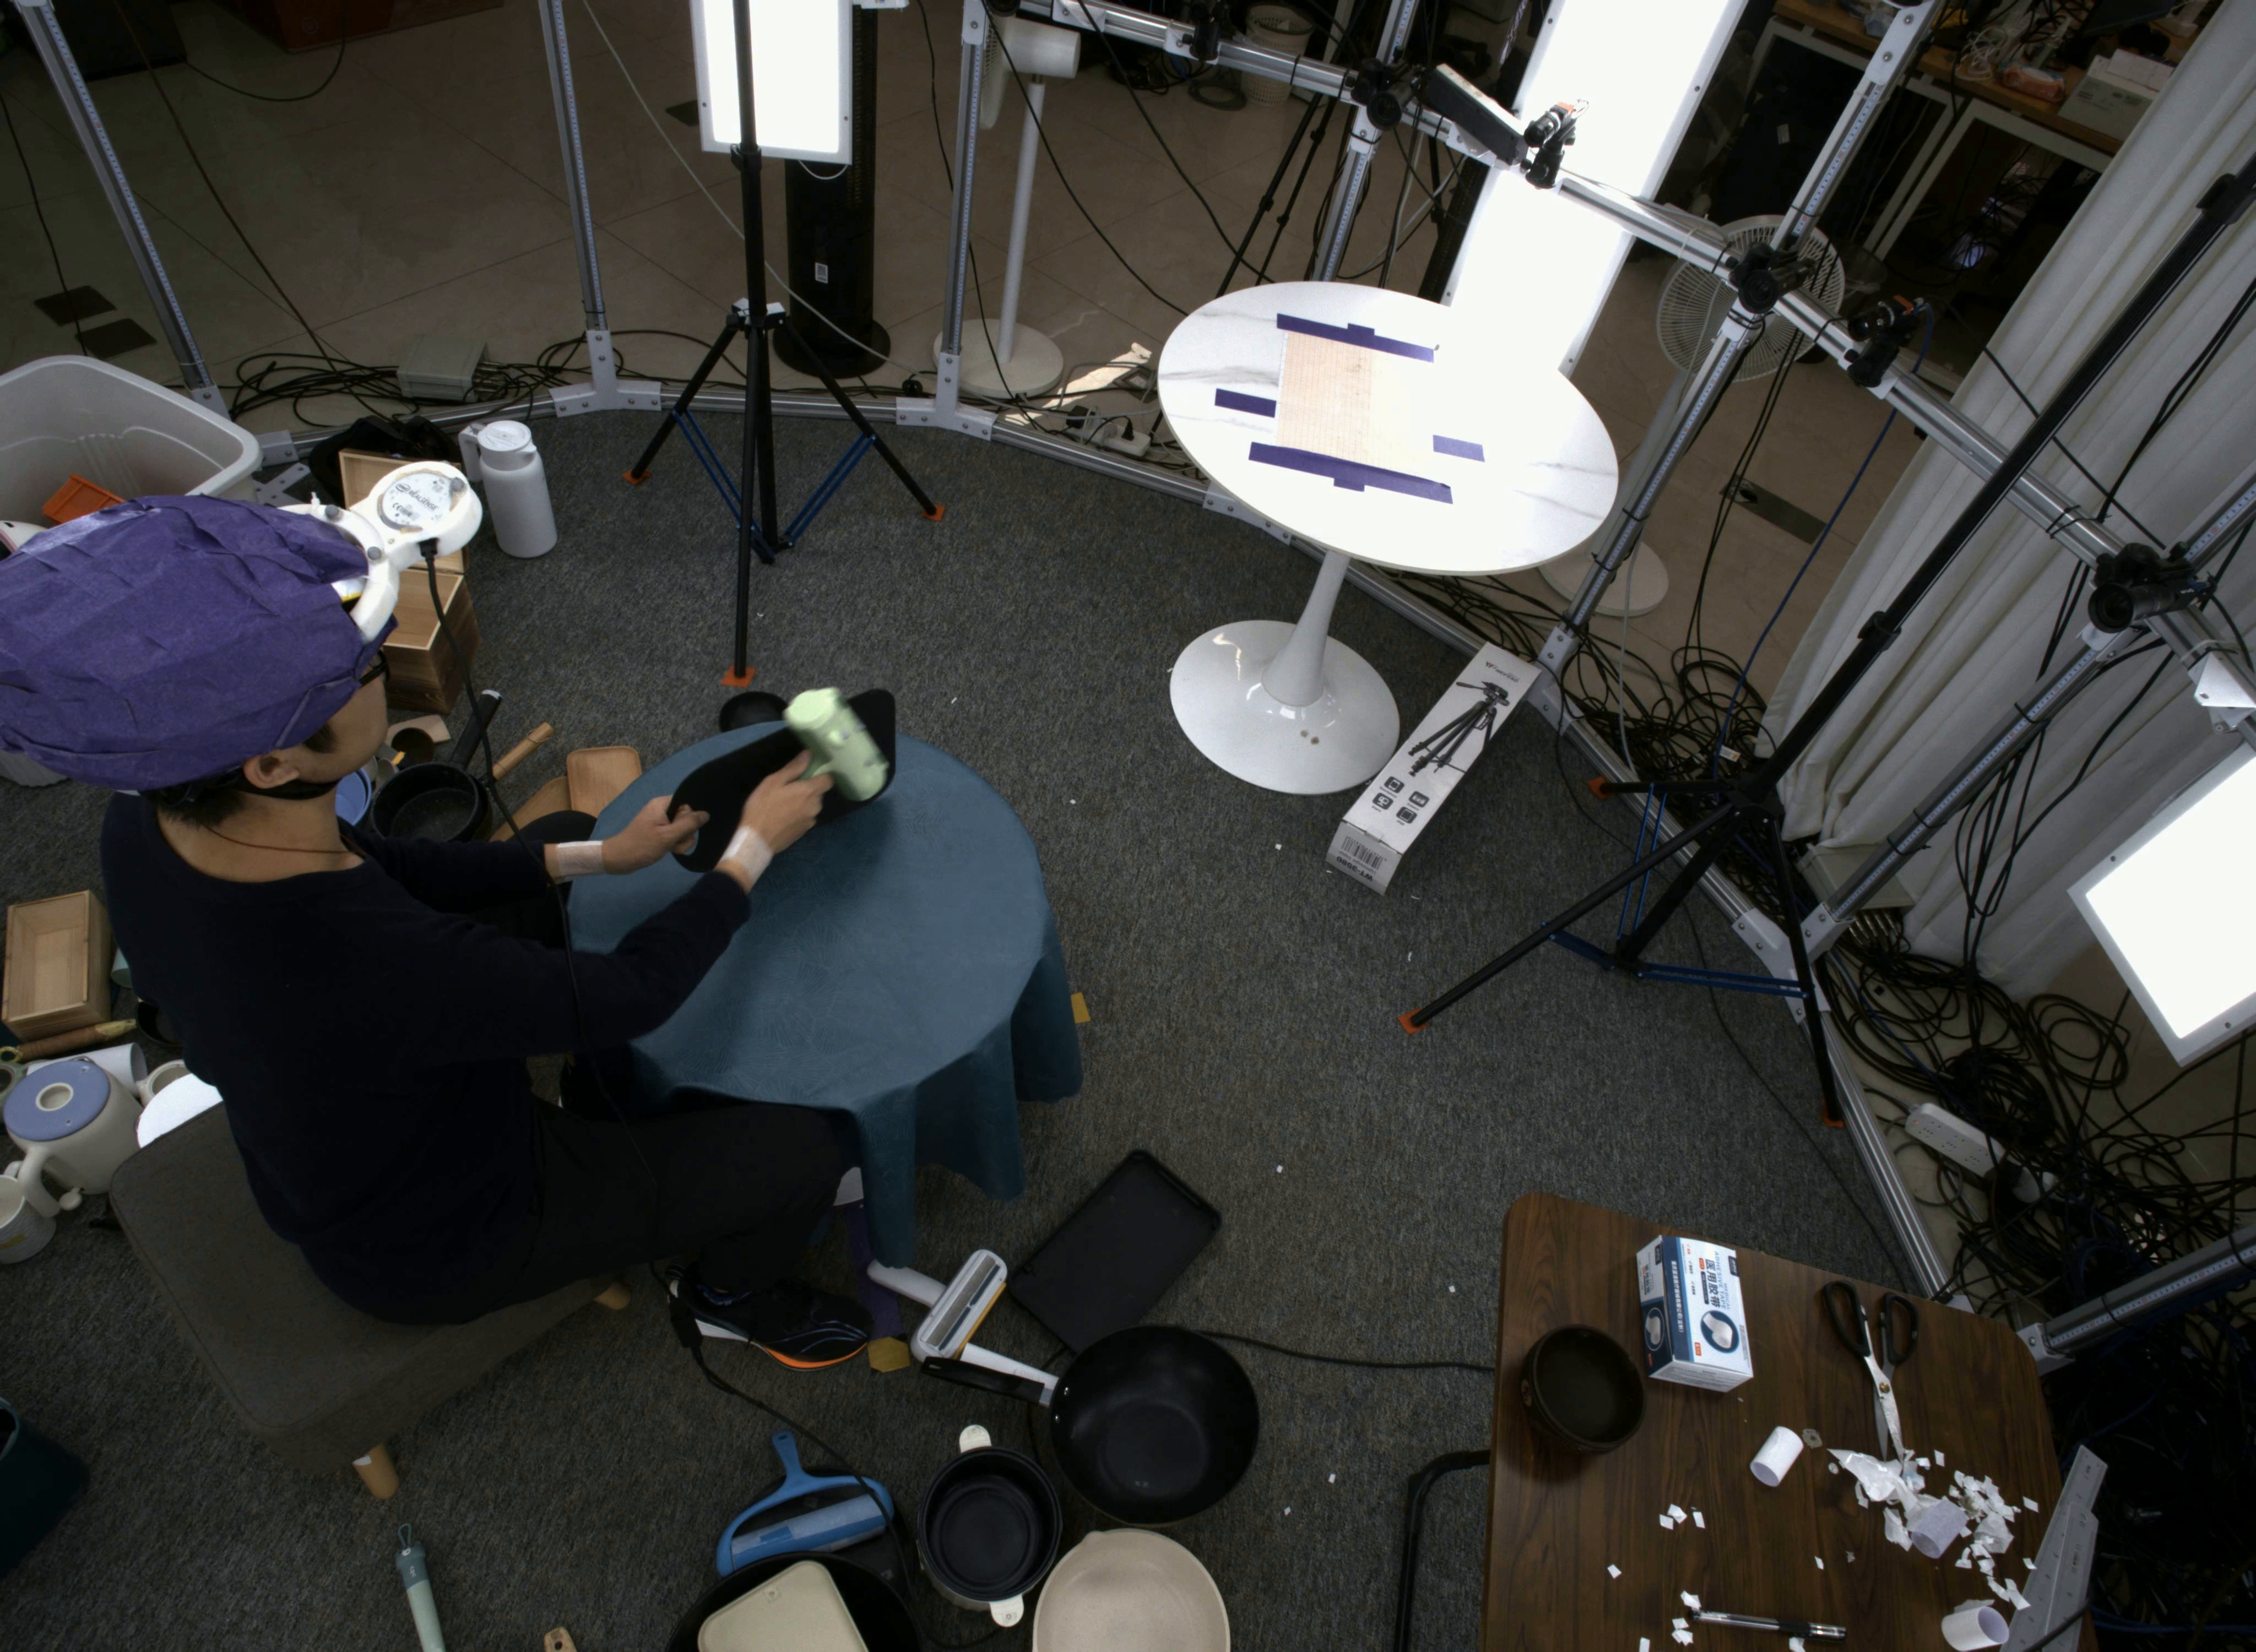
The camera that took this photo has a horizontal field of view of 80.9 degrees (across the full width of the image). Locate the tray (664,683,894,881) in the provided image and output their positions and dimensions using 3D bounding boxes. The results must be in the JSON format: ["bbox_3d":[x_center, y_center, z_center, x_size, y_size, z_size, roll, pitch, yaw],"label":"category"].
[{"bbox_3d":[-0.430,-0.053,1.614,0.326,0.216,0.009,-30,59,-30],"label":"tray"}]

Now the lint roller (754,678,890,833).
[{"bbox_3d":[-0.373,-0.057,1.569,0.080,0.205,0.183,25,70,22],"label":"lint roller"}]
